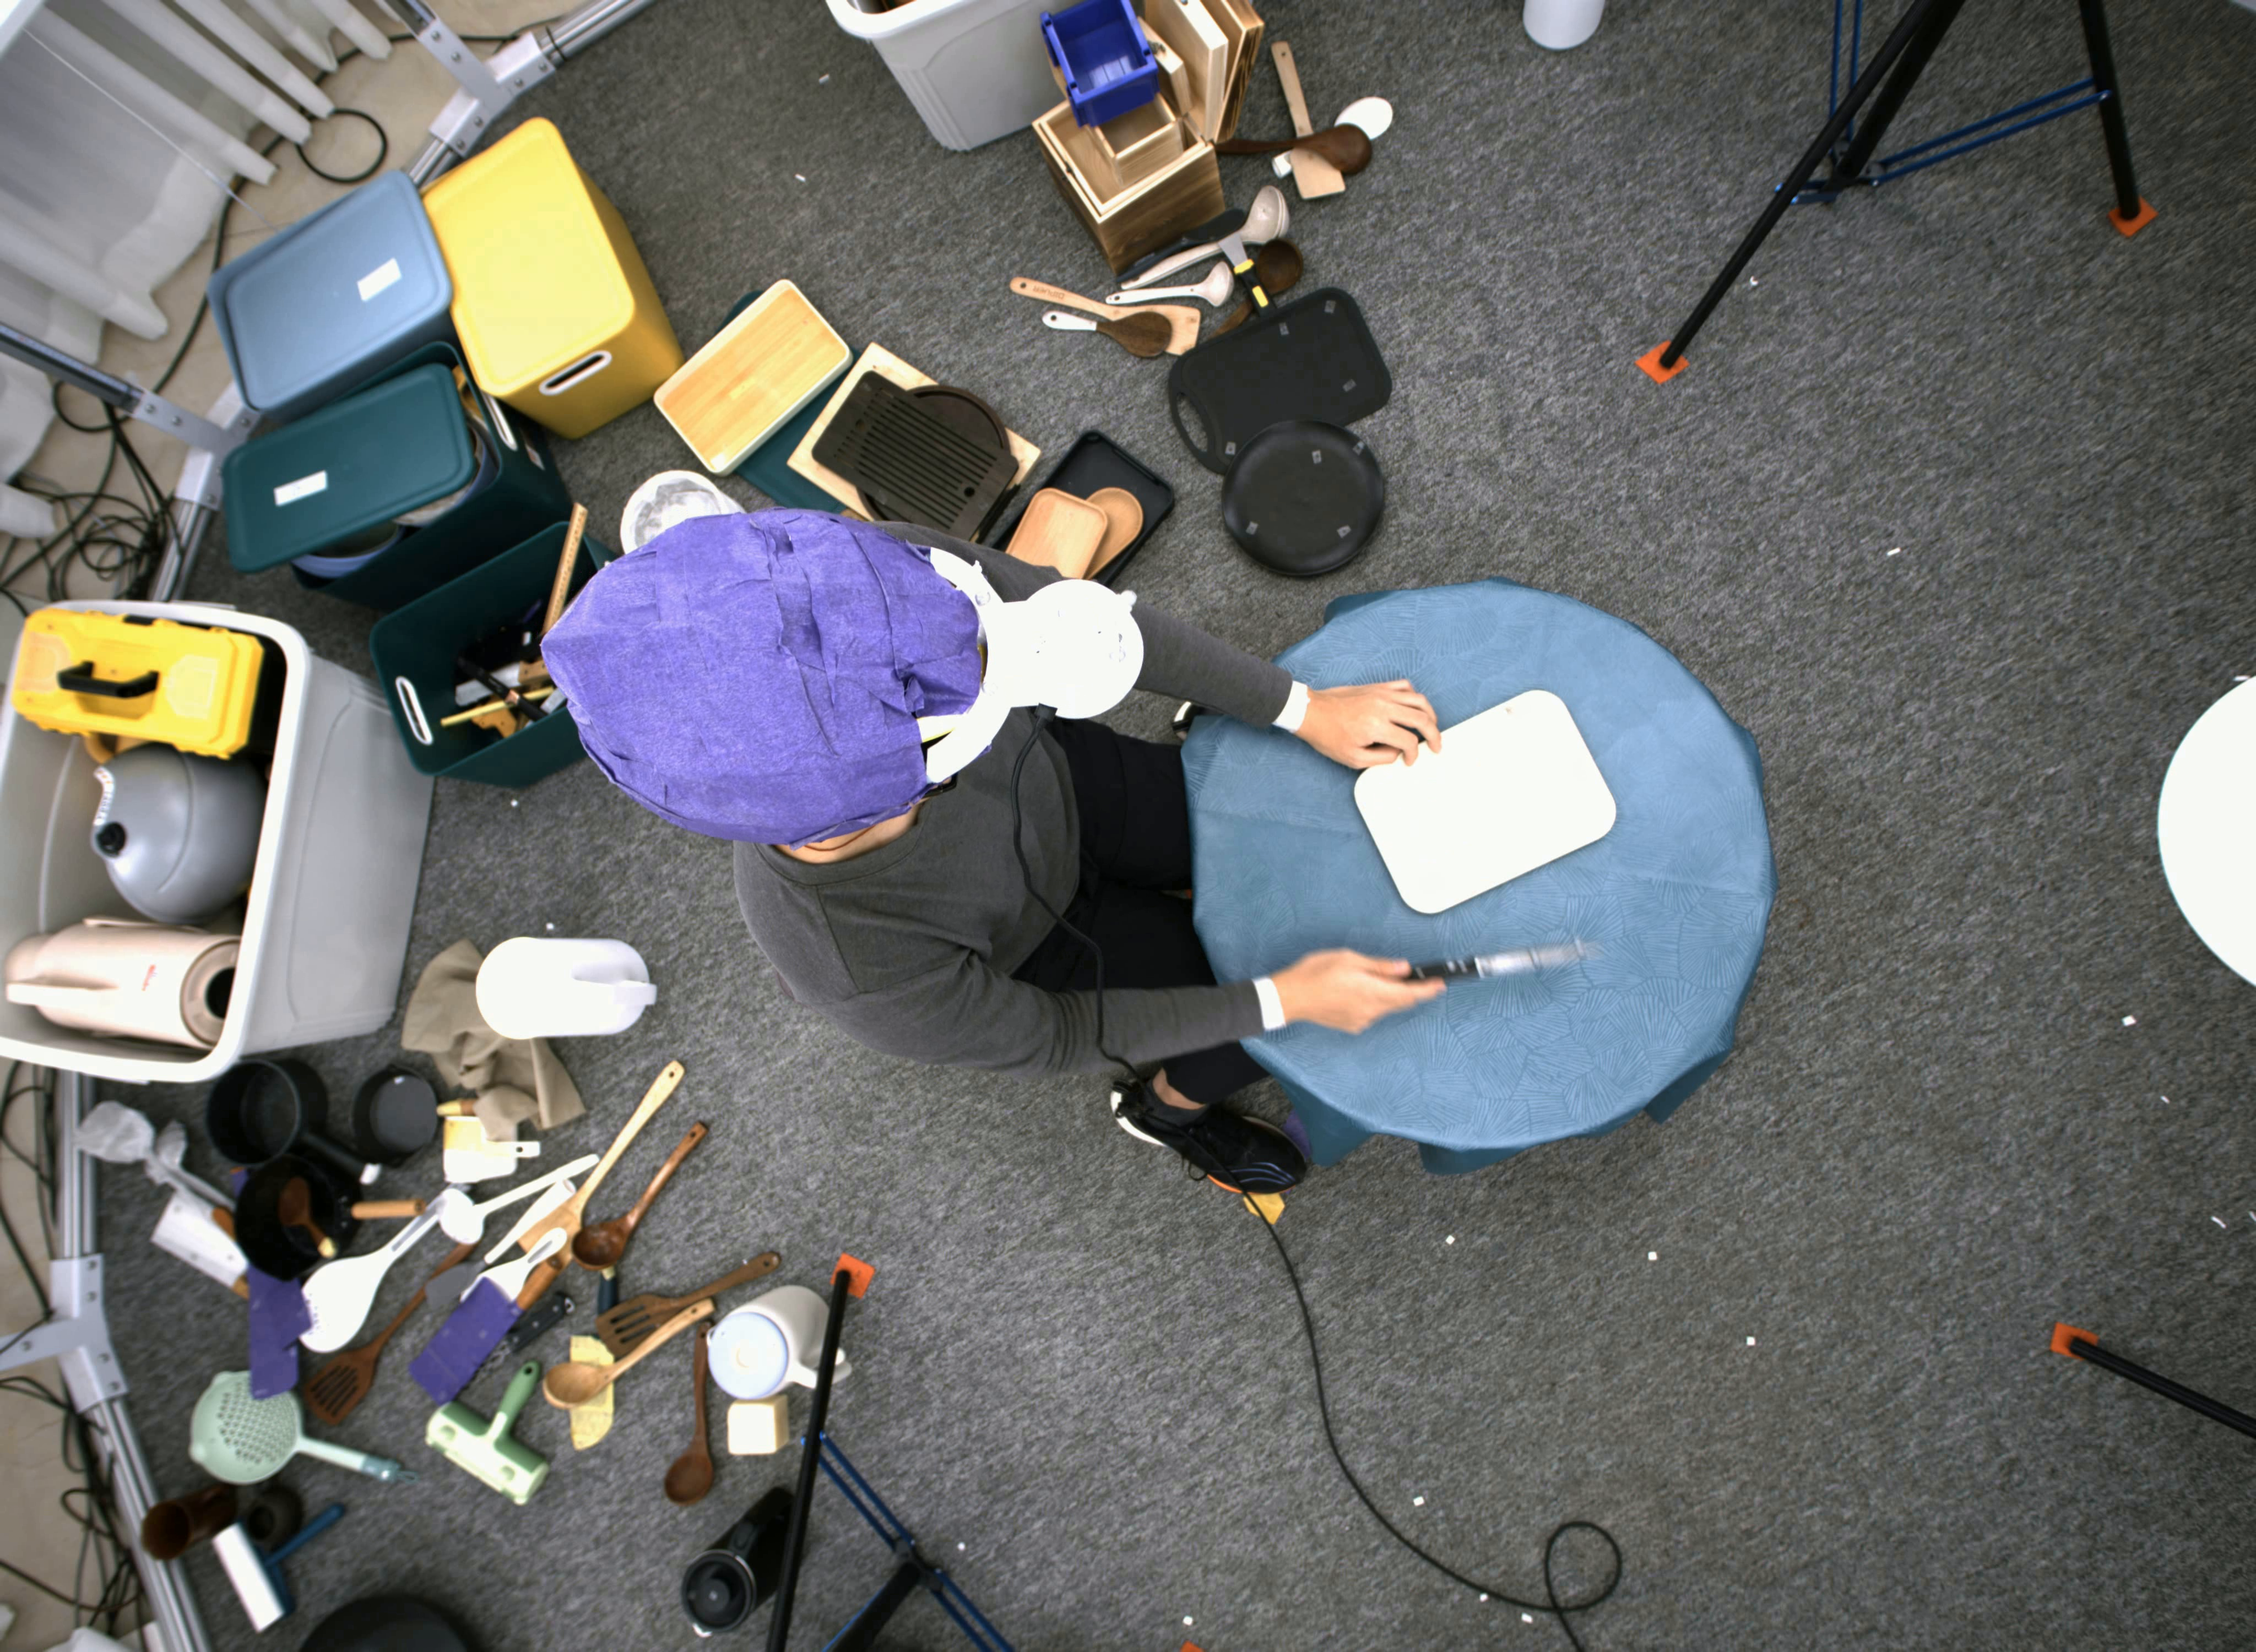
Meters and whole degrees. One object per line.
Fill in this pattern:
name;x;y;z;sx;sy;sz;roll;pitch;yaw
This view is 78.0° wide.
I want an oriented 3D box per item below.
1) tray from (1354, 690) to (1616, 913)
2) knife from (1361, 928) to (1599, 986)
tray;0.371;-0.027;1.438;0.241;0.017;0.170;-25;83;8
knife;0.350;0.127;1.371;0.239;0.016;0.024;-13;41;10
